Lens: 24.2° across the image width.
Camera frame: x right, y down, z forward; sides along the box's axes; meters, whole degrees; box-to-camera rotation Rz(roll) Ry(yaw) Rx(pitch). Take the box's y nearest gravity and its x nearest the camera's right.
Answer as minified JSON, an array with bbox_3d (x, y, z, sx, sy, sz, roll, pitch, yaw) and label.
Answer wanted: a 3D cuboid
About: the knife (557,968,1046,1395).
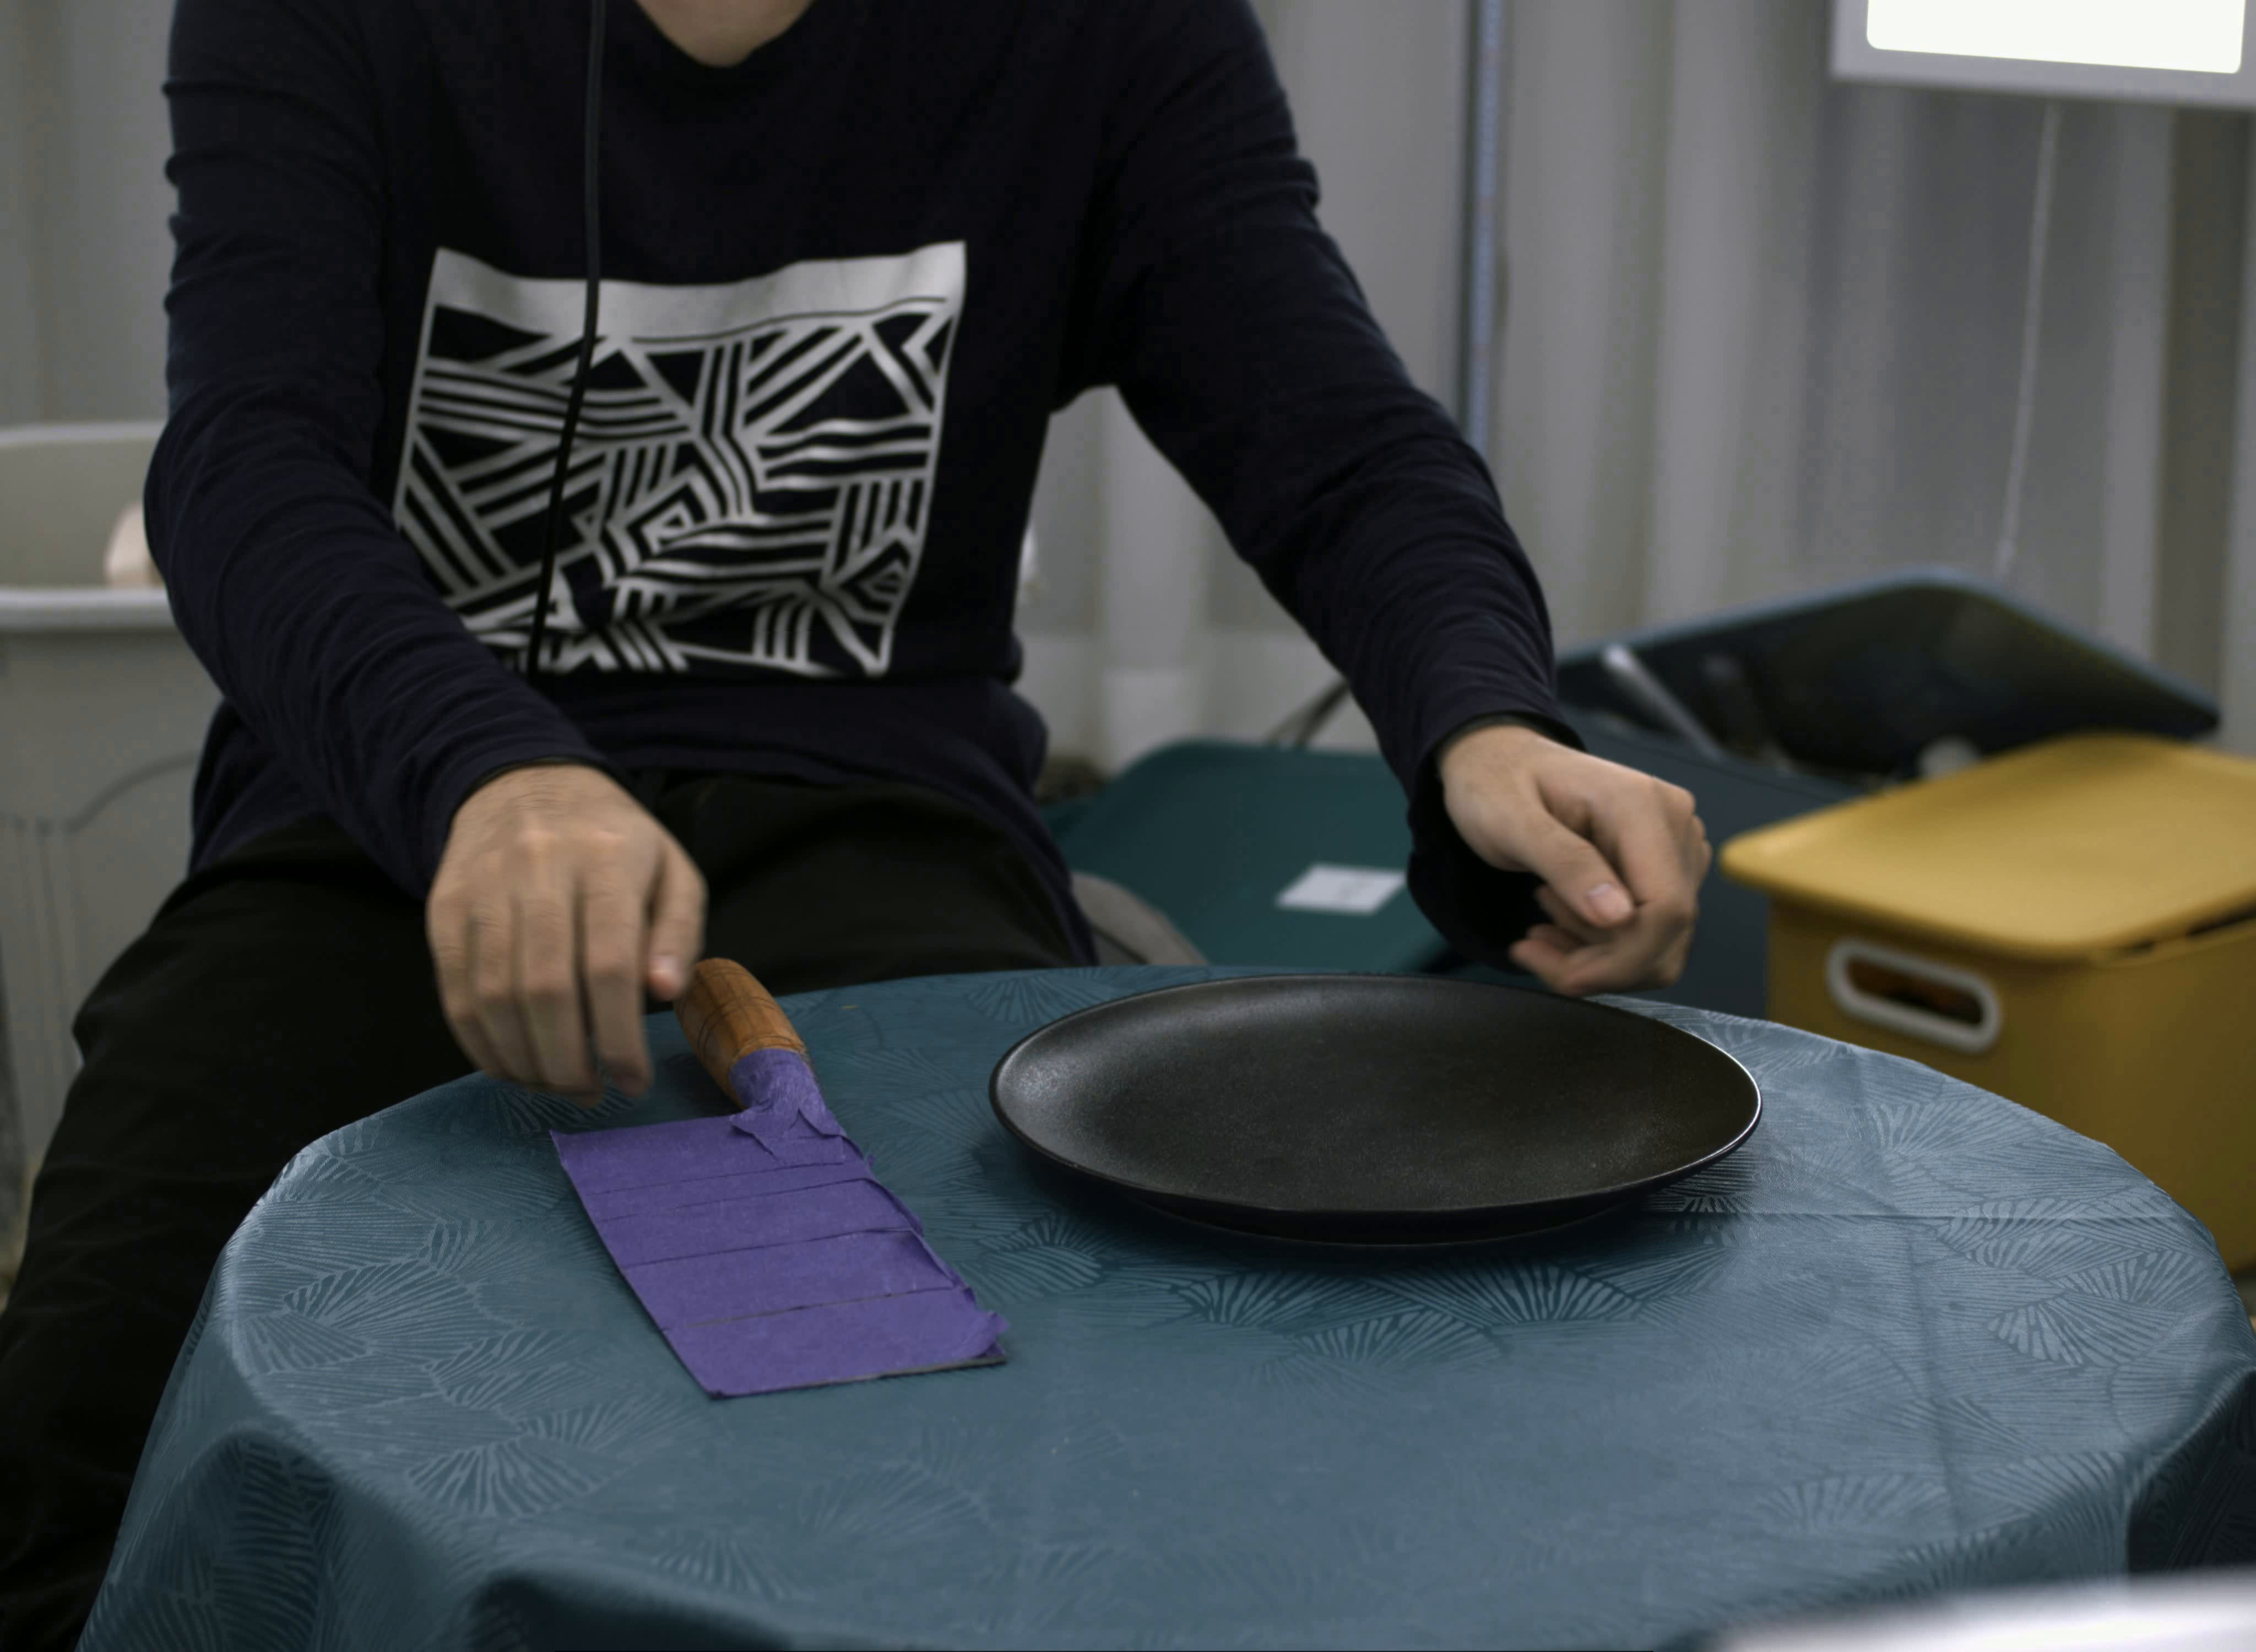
[{"bbox_3d":[-0.120,0.104,1.602,0.104,0.032,0.312,-5,17,-18],"label":"knife"}]

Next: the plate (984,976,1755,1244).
[{"bbox_3d":[0.076,0.091,1.662,0.243,0.023,0.243,1,15,0],"label":"plate"}]
